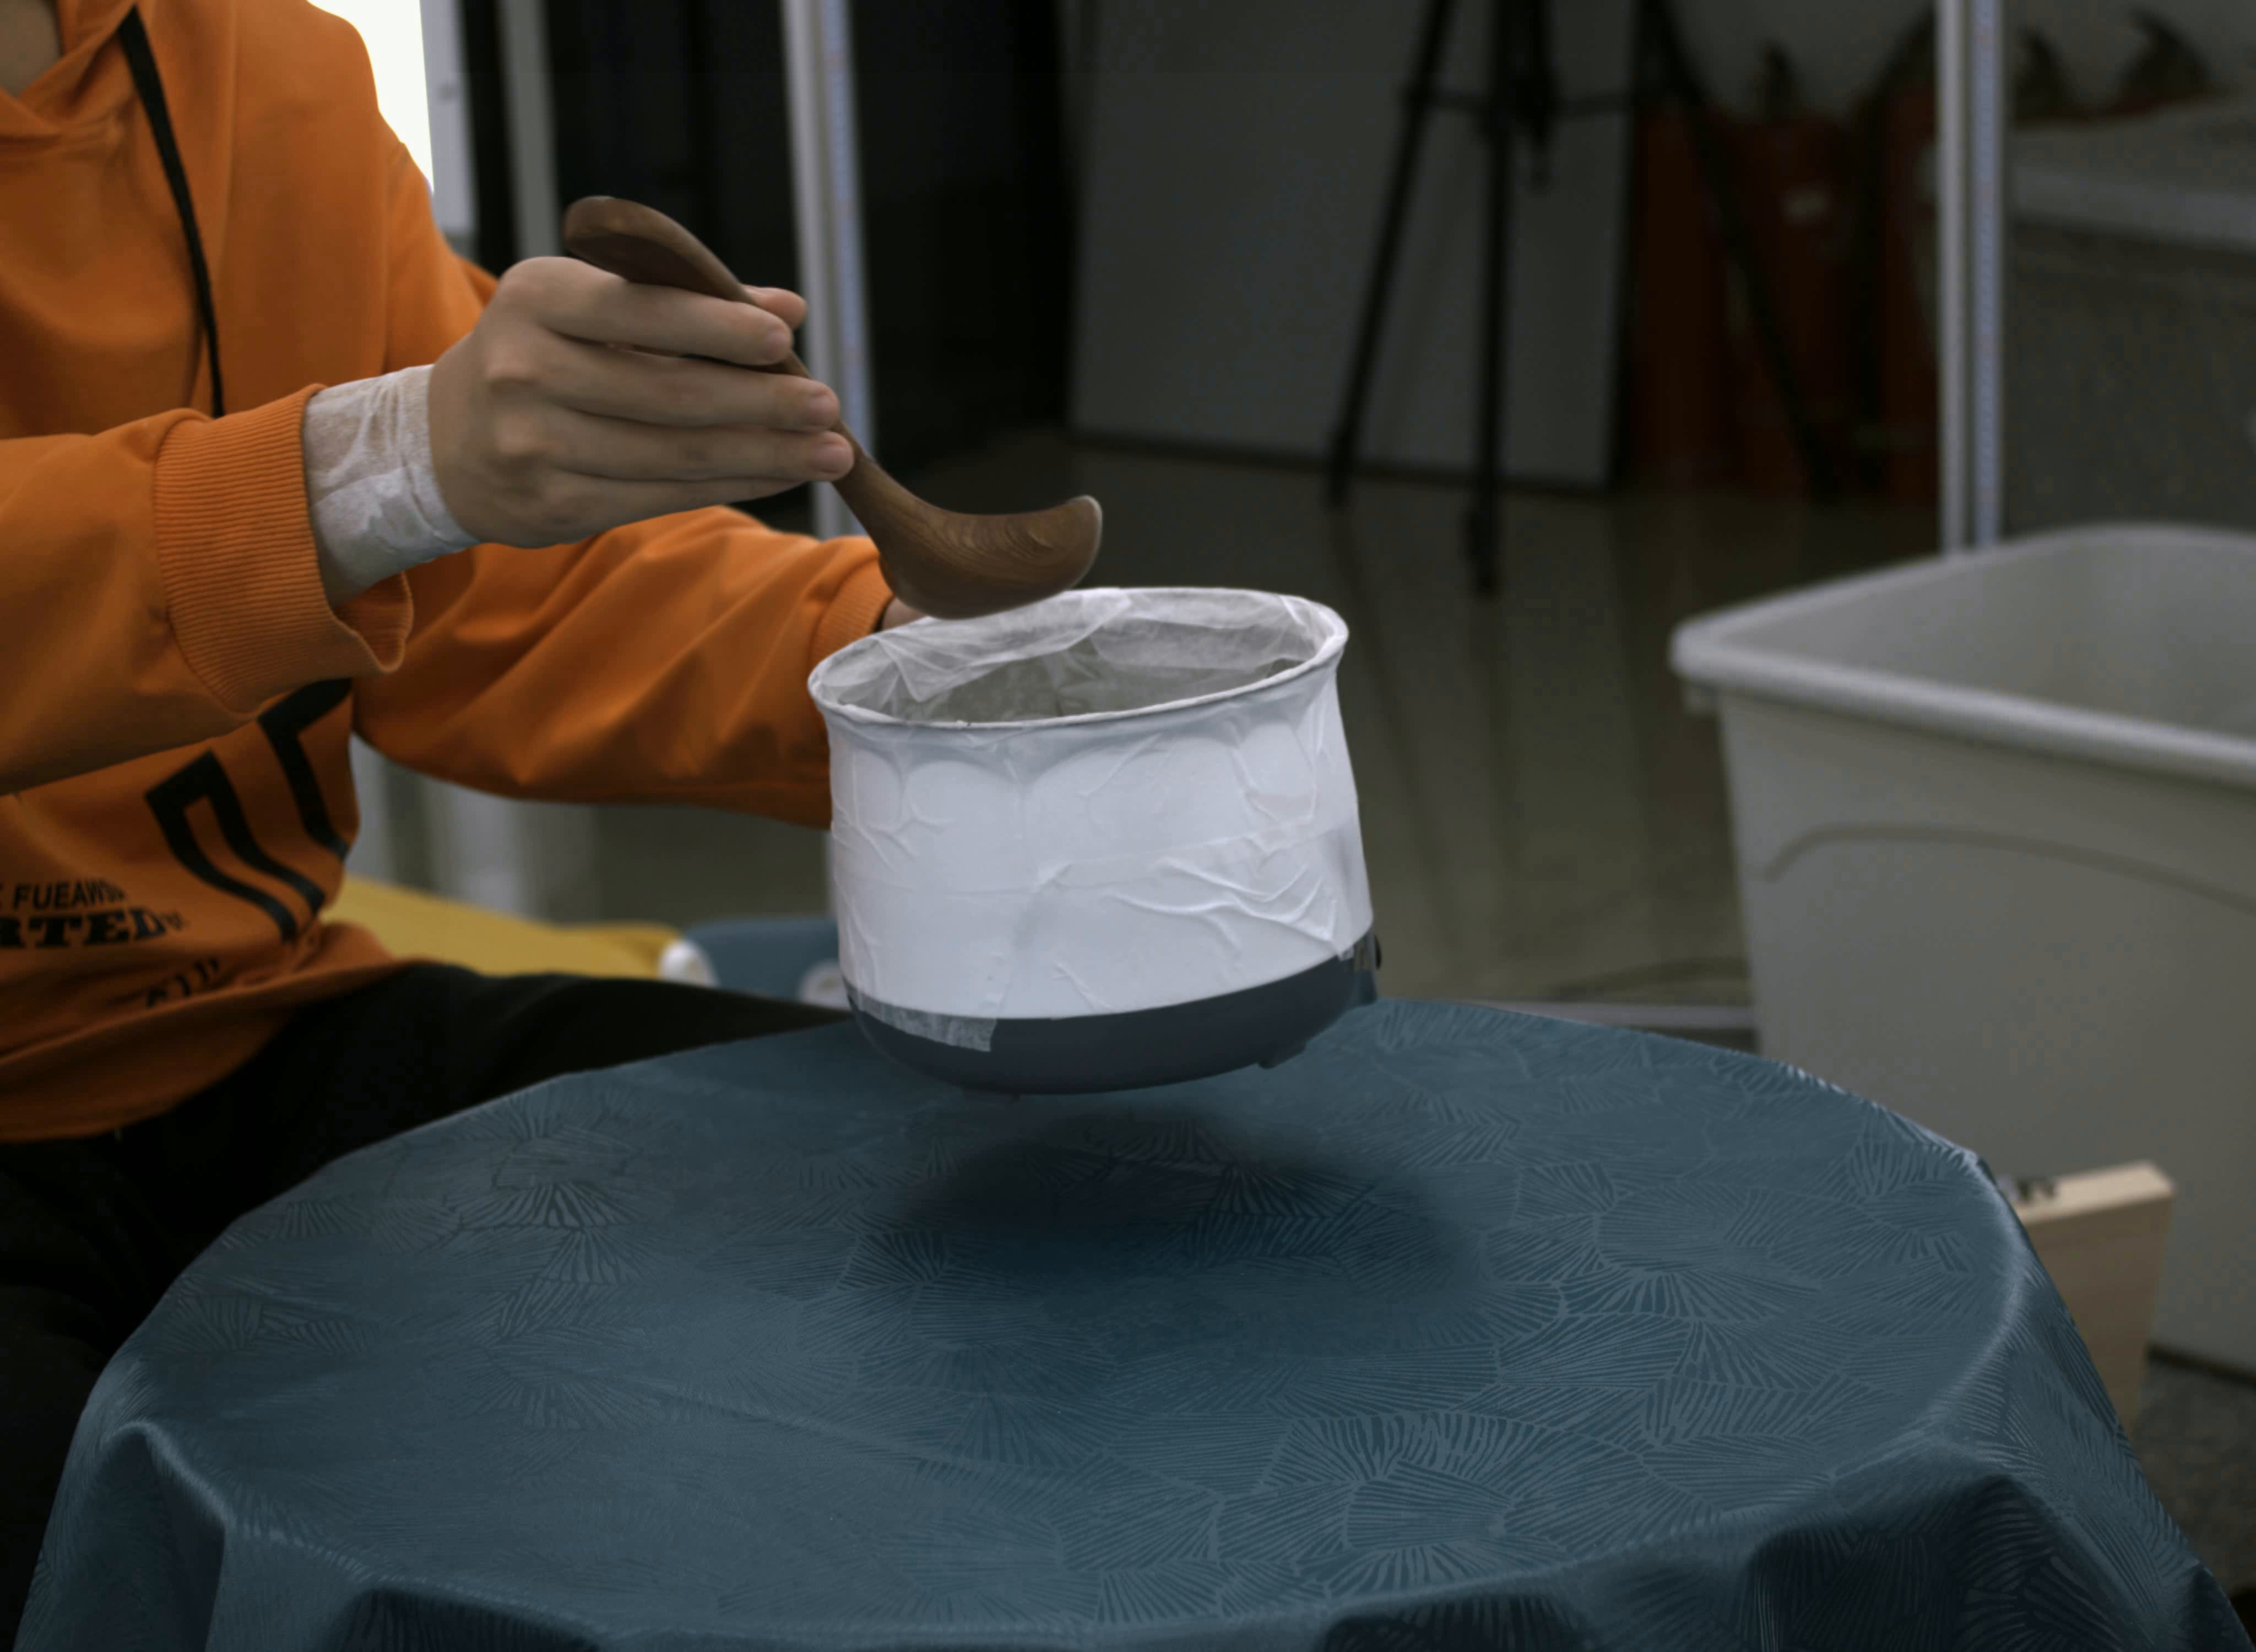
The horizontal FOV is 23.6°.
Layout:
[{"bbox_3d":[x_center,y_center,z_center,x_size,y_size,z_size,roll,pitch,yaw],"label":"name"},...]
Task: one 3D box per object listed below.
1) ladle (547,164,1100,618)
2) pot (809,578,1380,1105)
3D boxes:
[{"bbox_3d":[-0.096,-0.142,1.677,0.077,0.257,0.066,-22,47,25],"label":"ladle"},{"bbox_3d":[-0.014,-0.002,1.777,0.176,0.138,0.235,-8,14,-7],"label":"pot"}]
